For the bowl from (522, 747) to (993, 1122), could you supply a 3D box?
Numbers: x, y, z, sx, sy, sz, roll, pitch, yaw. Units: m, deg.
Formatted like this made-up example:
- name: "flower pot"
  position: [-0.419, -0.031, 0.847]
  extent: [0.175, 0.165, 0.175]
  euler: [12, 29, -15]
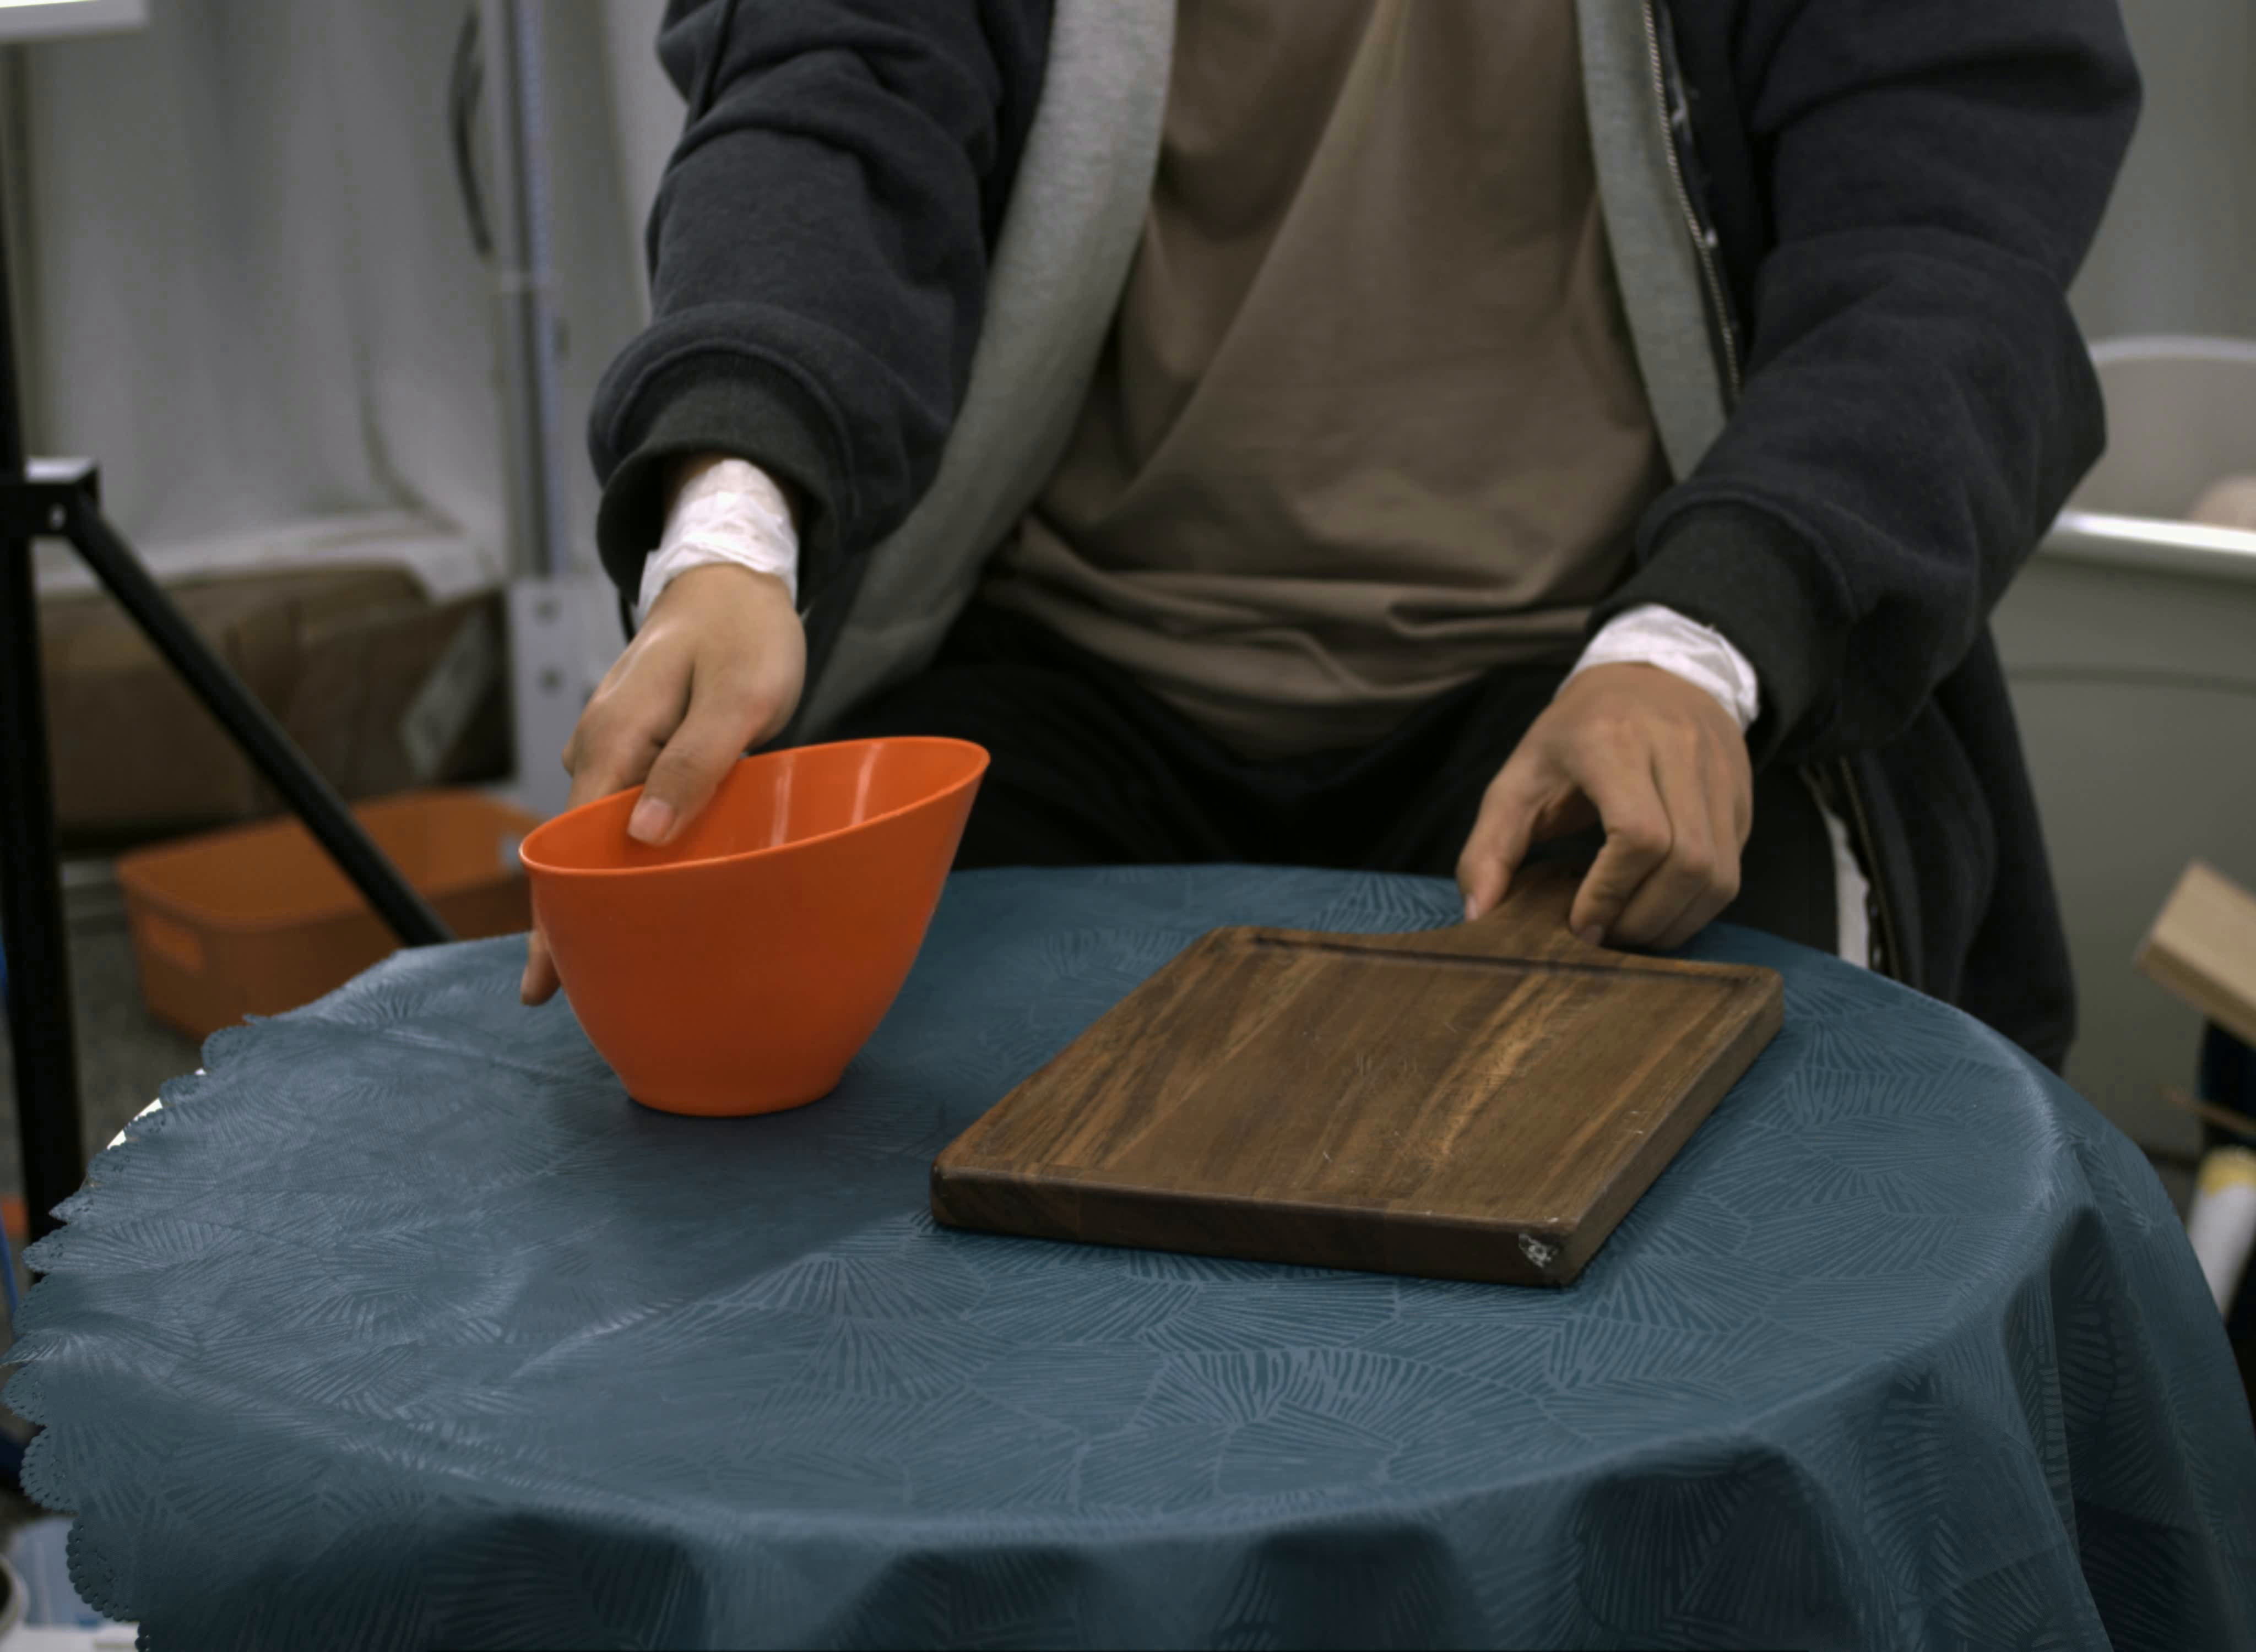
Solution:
- name: "bowl"
  position: [-0.114, 0.034, 1.656]
  extent: [0.147, 0.105, 0.149]
  euler: [-2, 14, -1]

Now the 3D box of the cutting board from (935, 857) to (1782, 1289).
- name: "cutting board"
  position: [0.093, 0.067, 1.650]
  extent: [0.203, 0.023, 0.348]
  euler: [4, 17, 21]
